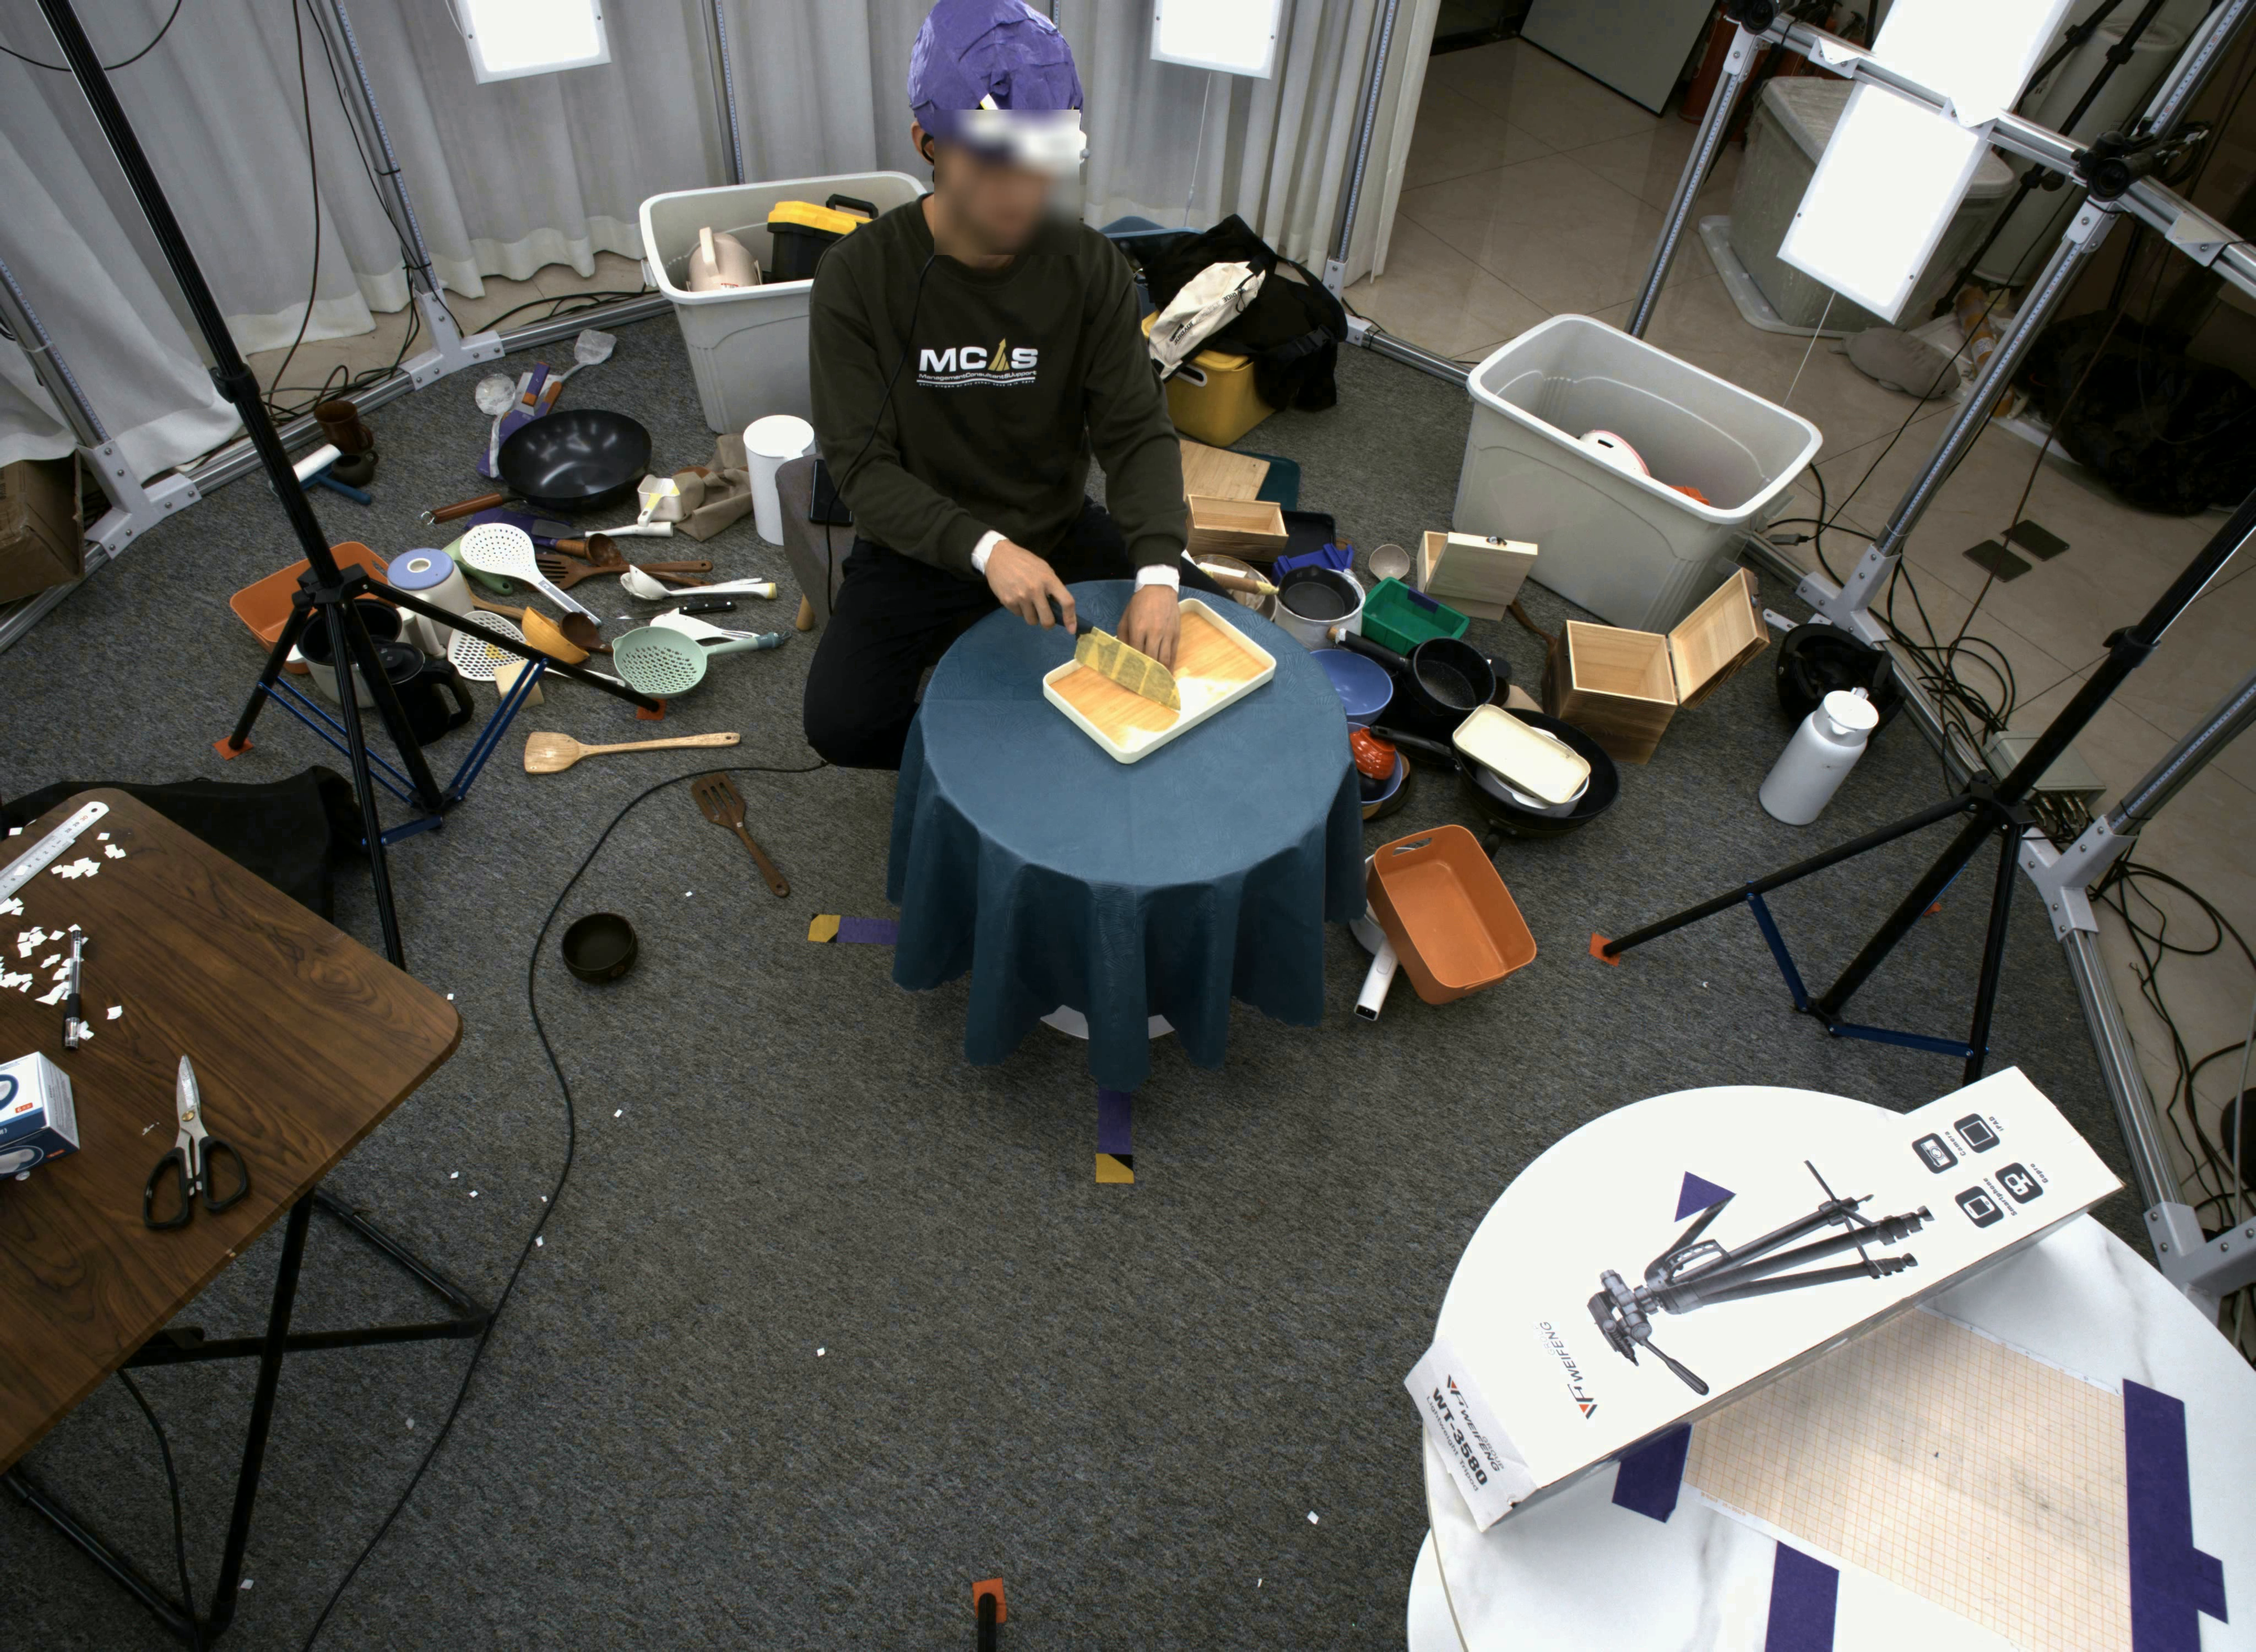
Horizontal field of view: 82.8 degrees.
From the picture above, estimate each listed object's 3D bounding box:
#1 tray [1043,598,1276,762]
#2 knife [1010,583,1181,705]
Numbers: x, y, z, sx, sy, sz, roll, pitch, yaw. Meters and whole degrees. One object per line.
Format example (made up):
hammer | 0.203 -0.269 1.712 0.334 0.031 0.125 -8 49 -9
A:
tray | 0.047 -0.215 1.840 0.302 0.027 0.195 -32 57 -28
knife | -0.046 -0.254 1.808 0.291 0.079 0.027 34 48 9
